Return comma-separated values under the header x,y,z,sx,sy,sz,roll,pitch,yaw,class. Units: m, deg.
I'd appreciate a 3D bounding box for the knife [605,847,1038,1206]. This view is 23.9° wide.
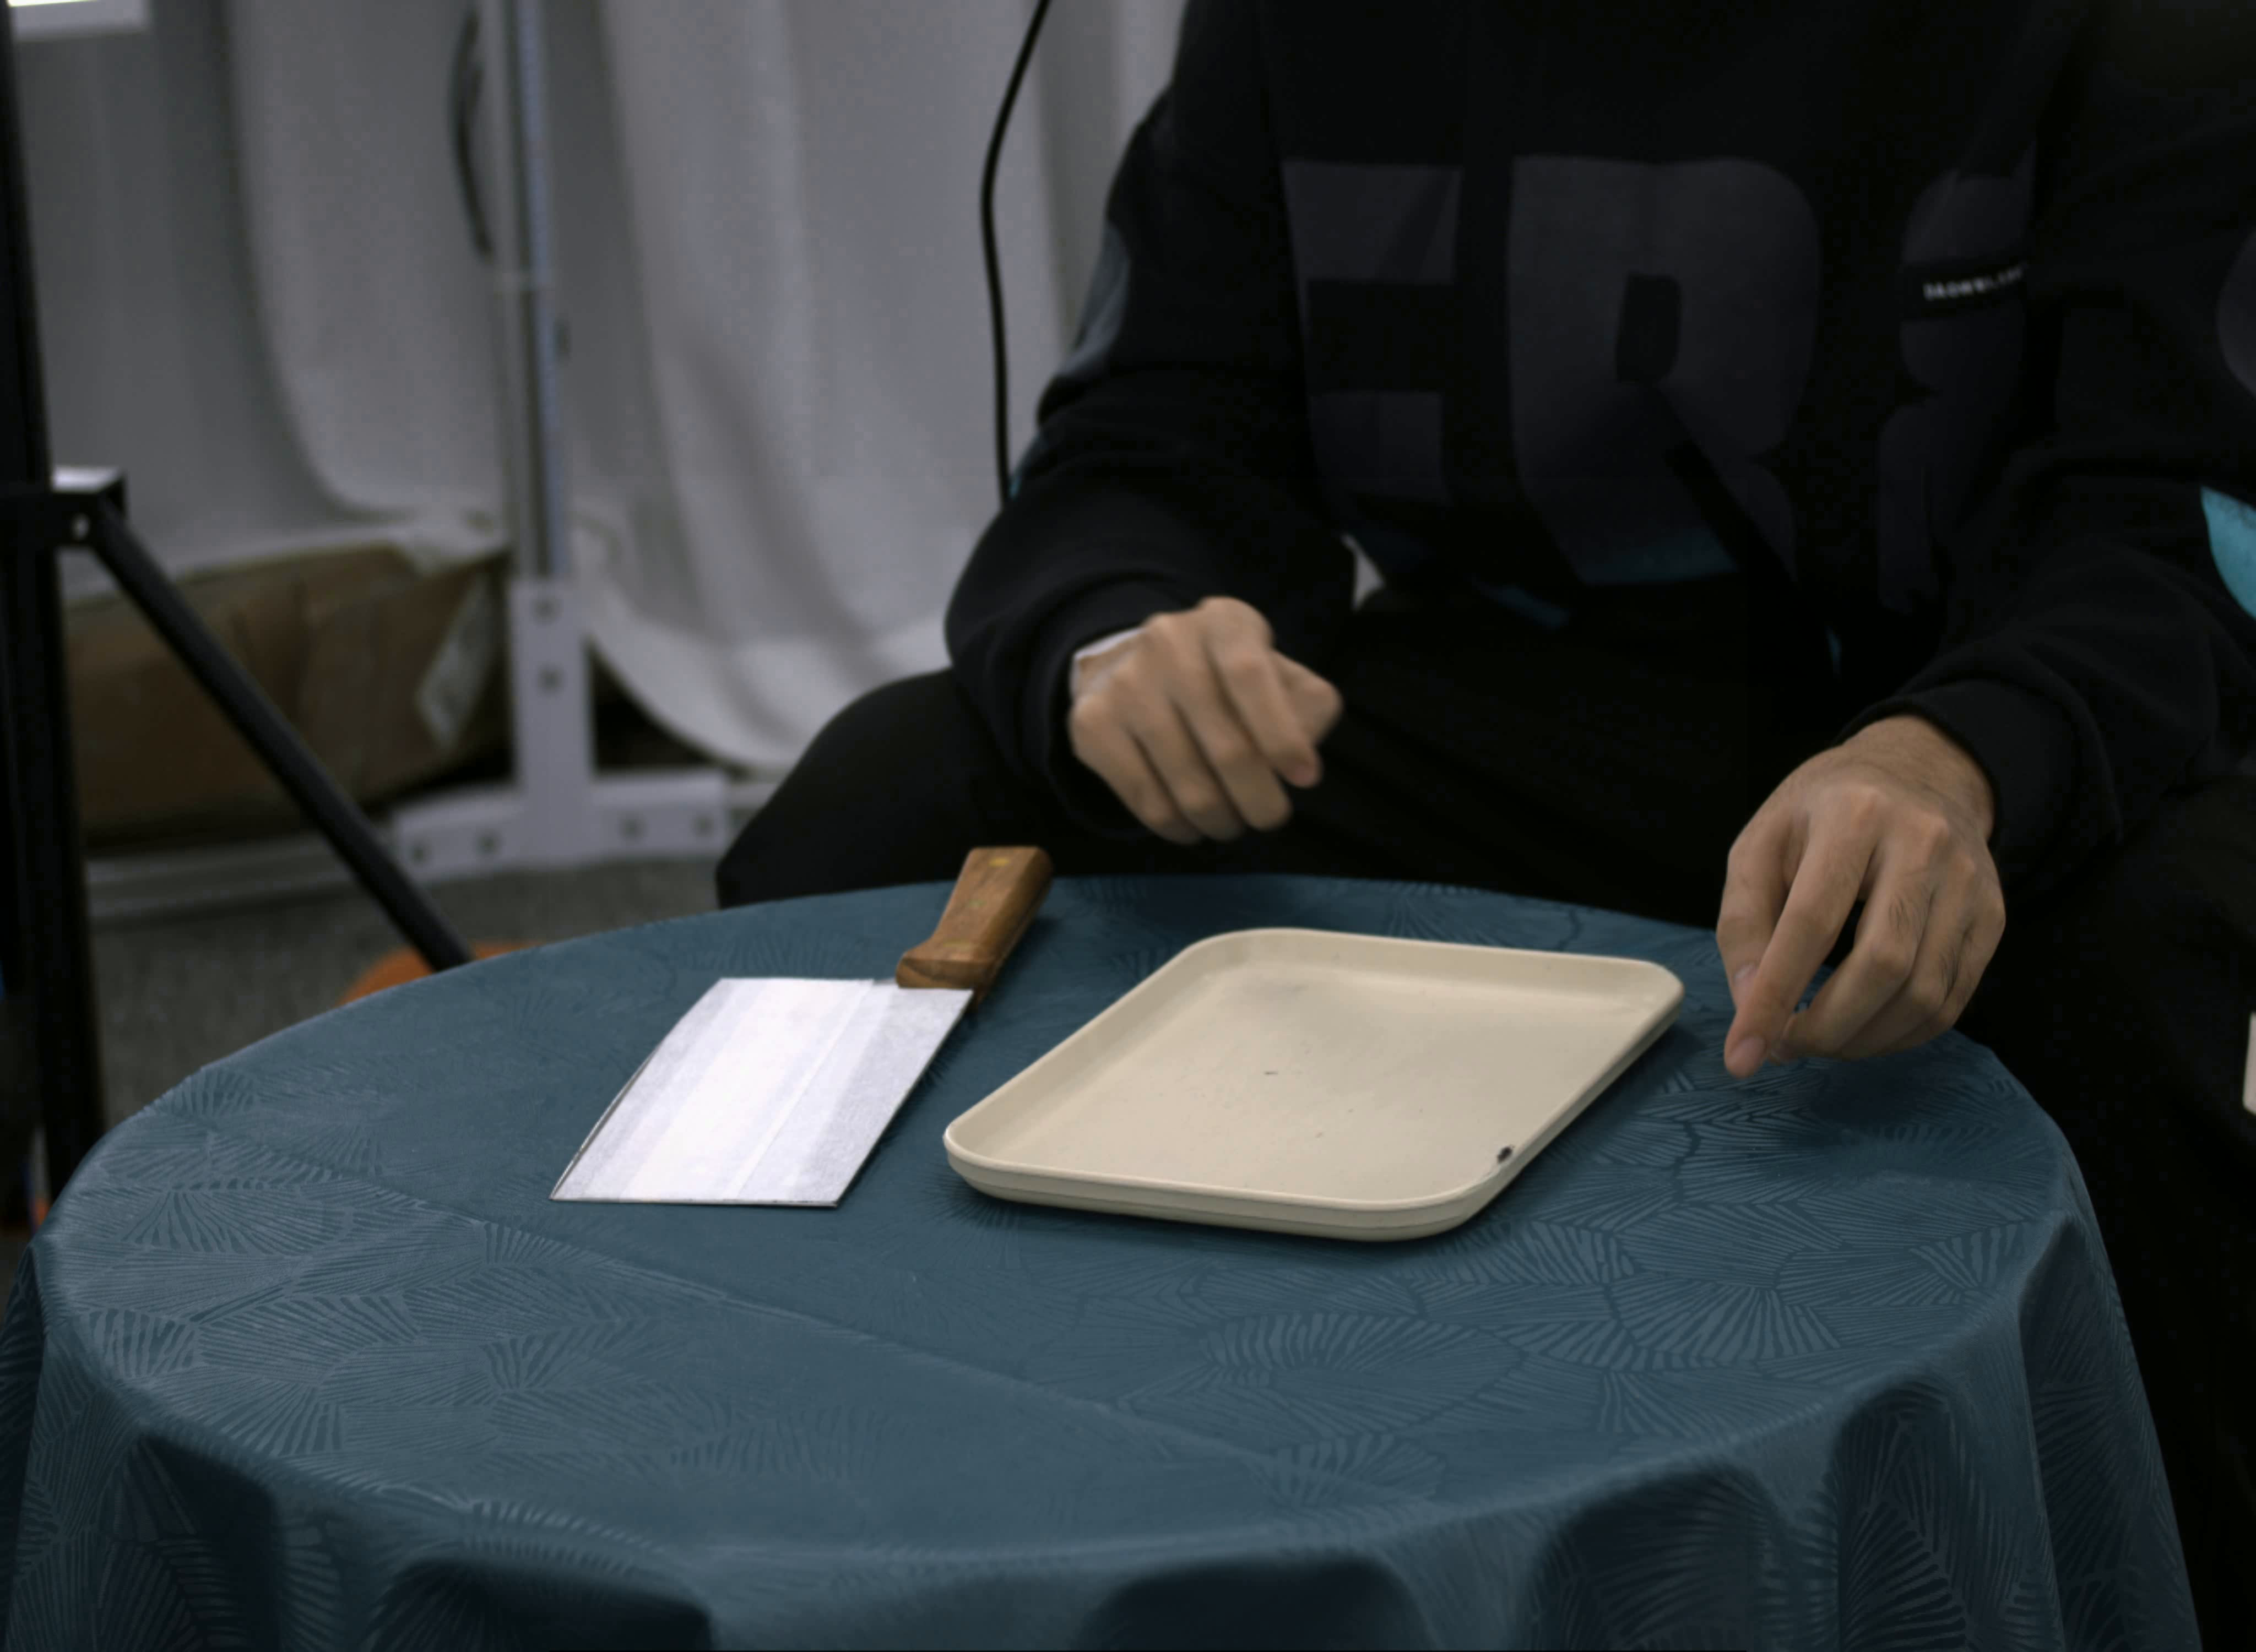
x,y,z,sx,sy,sz,roll,pitch,yaw,class
-0.097,0.063,1.706,0.093,0.021,0.304,-1,18,13,knife

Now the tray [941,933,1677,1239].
x,y,z,sx,sy,sz,roll,pitch,yaw,class
0.059,0.078,1.619,0.174,0.017,0.236,4,17,25,tray
